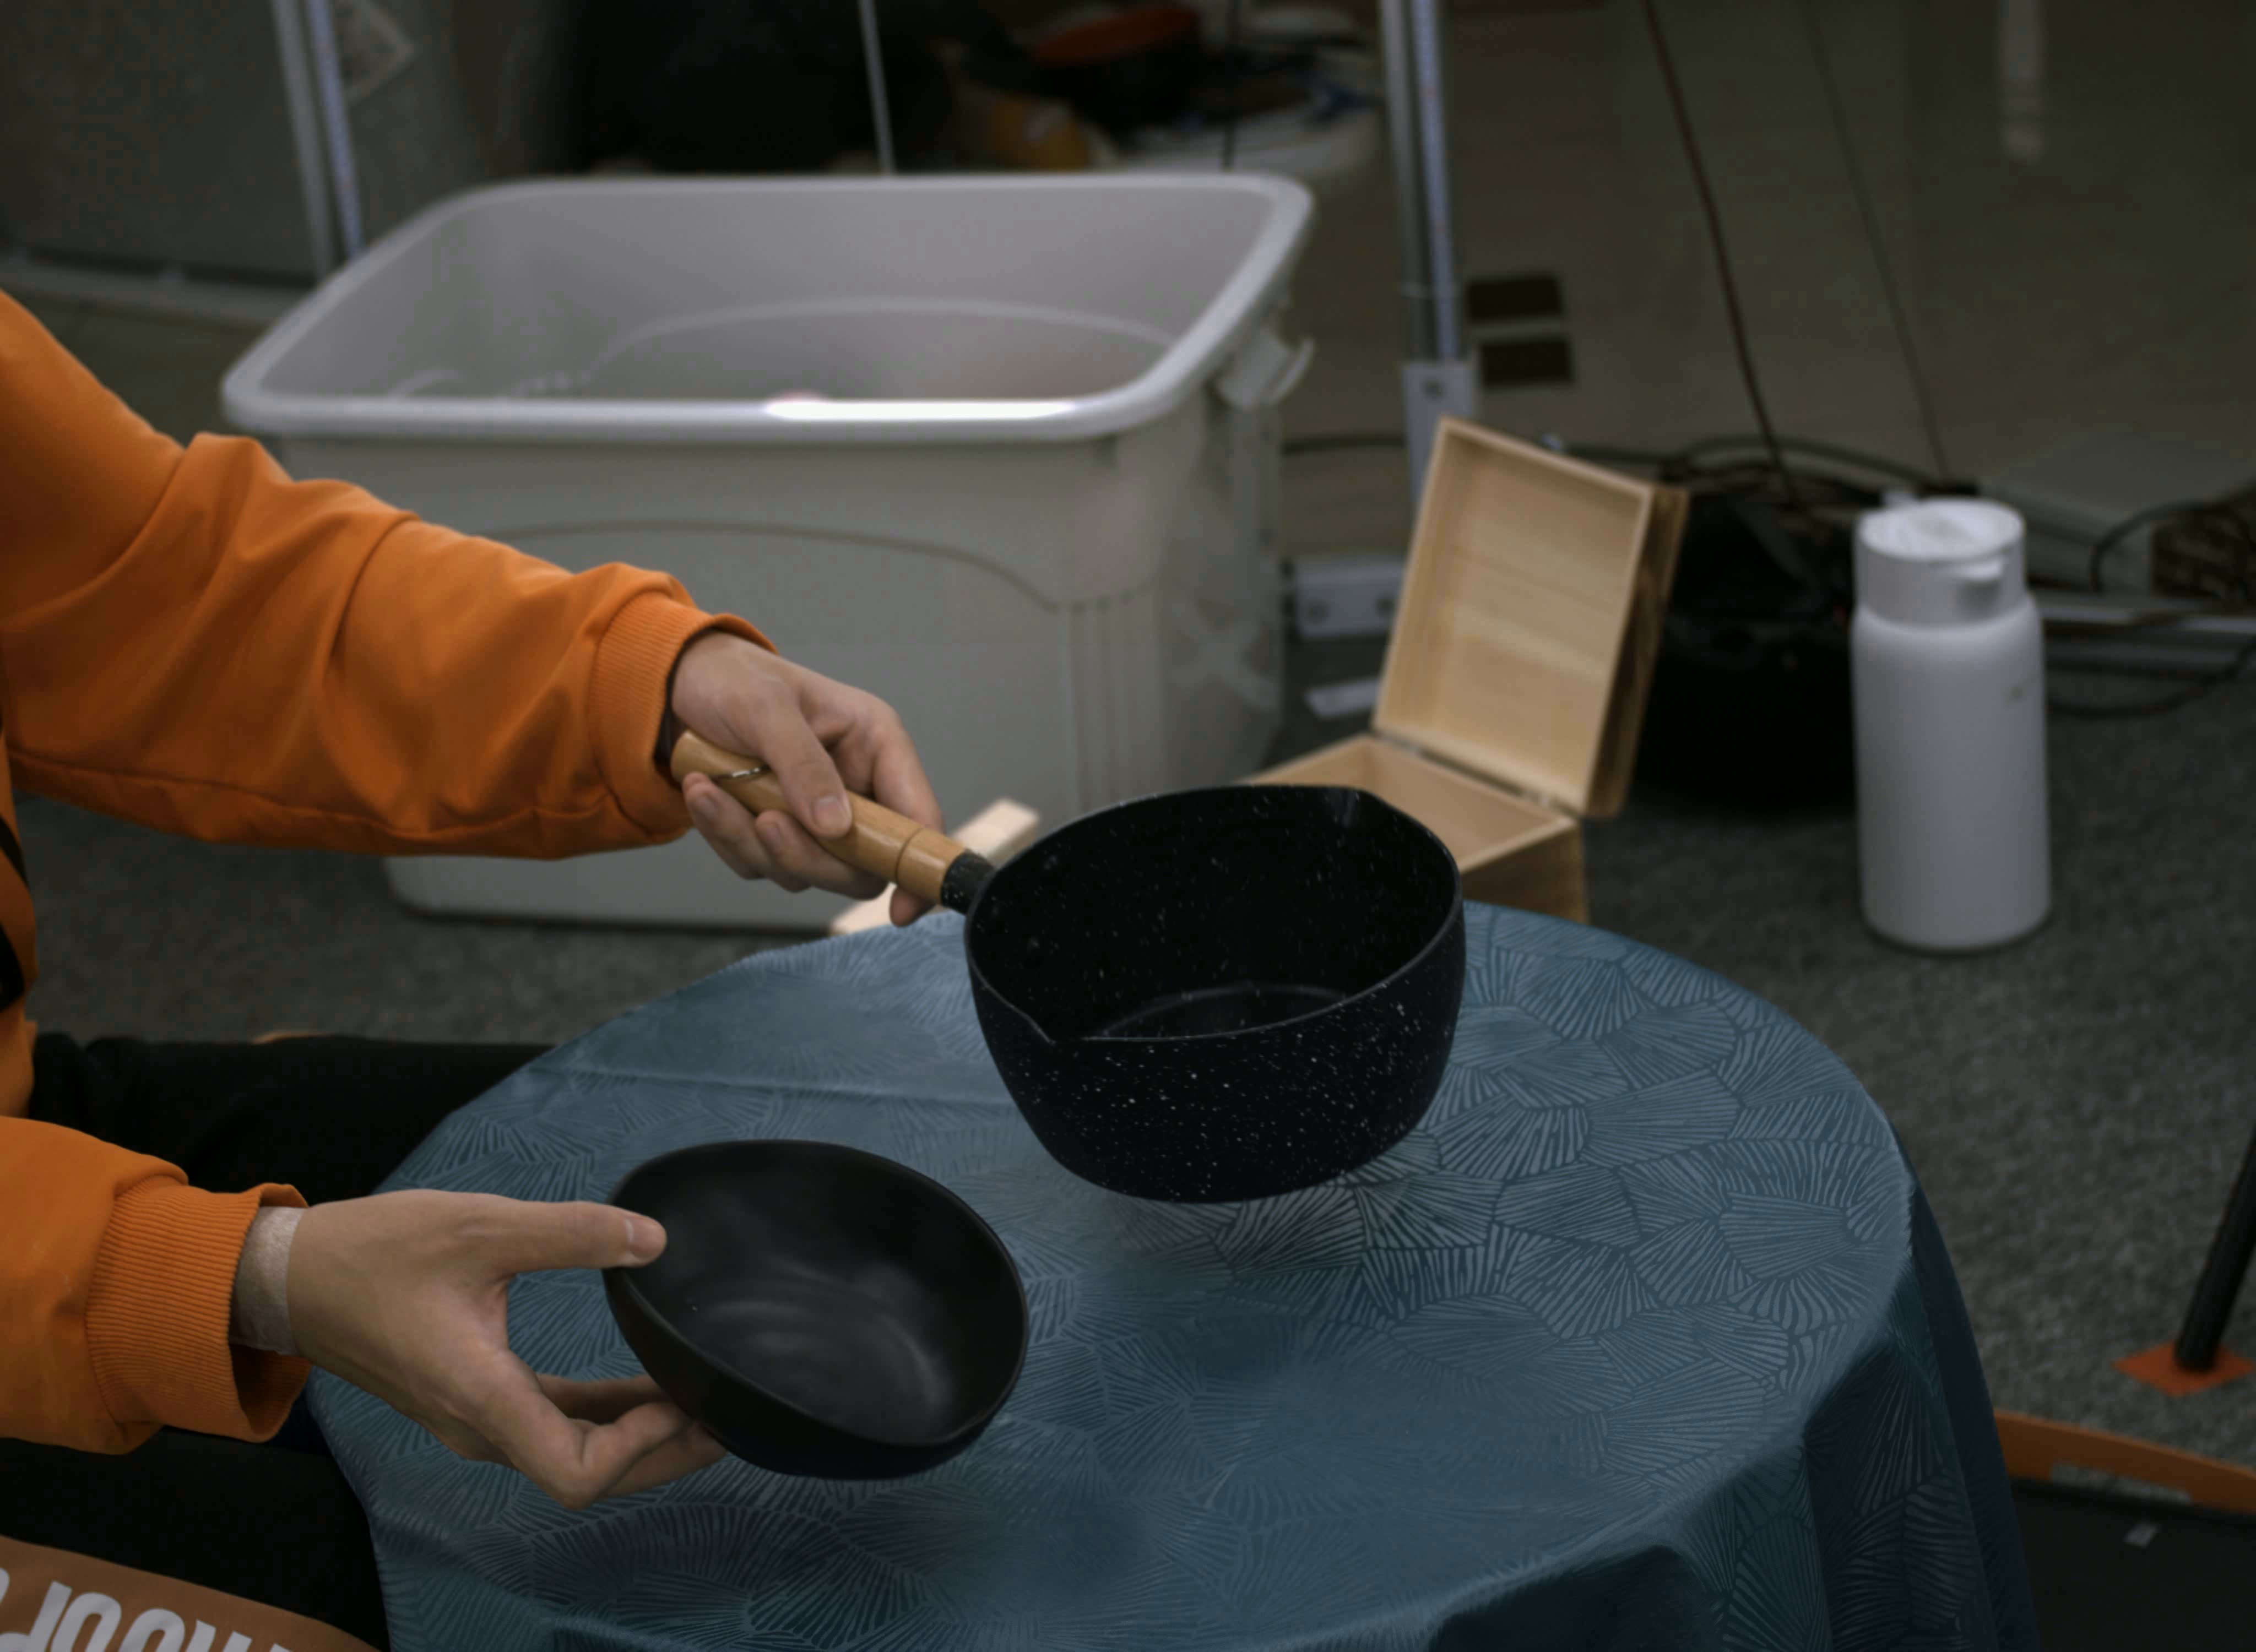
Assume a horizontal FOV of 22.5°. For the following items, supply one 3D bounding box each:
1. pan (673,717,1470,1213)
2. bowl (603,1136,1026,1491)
[{"bbox_3d":[-0.031,0.042,2.130,0.341,0.110,0.205,14,37,31],"label":"pan"},{"bbox_3d":[-0.109,0.175,1.930,0.136,0.068,0.168,-14,42,-36],"label":"bowl"}]
